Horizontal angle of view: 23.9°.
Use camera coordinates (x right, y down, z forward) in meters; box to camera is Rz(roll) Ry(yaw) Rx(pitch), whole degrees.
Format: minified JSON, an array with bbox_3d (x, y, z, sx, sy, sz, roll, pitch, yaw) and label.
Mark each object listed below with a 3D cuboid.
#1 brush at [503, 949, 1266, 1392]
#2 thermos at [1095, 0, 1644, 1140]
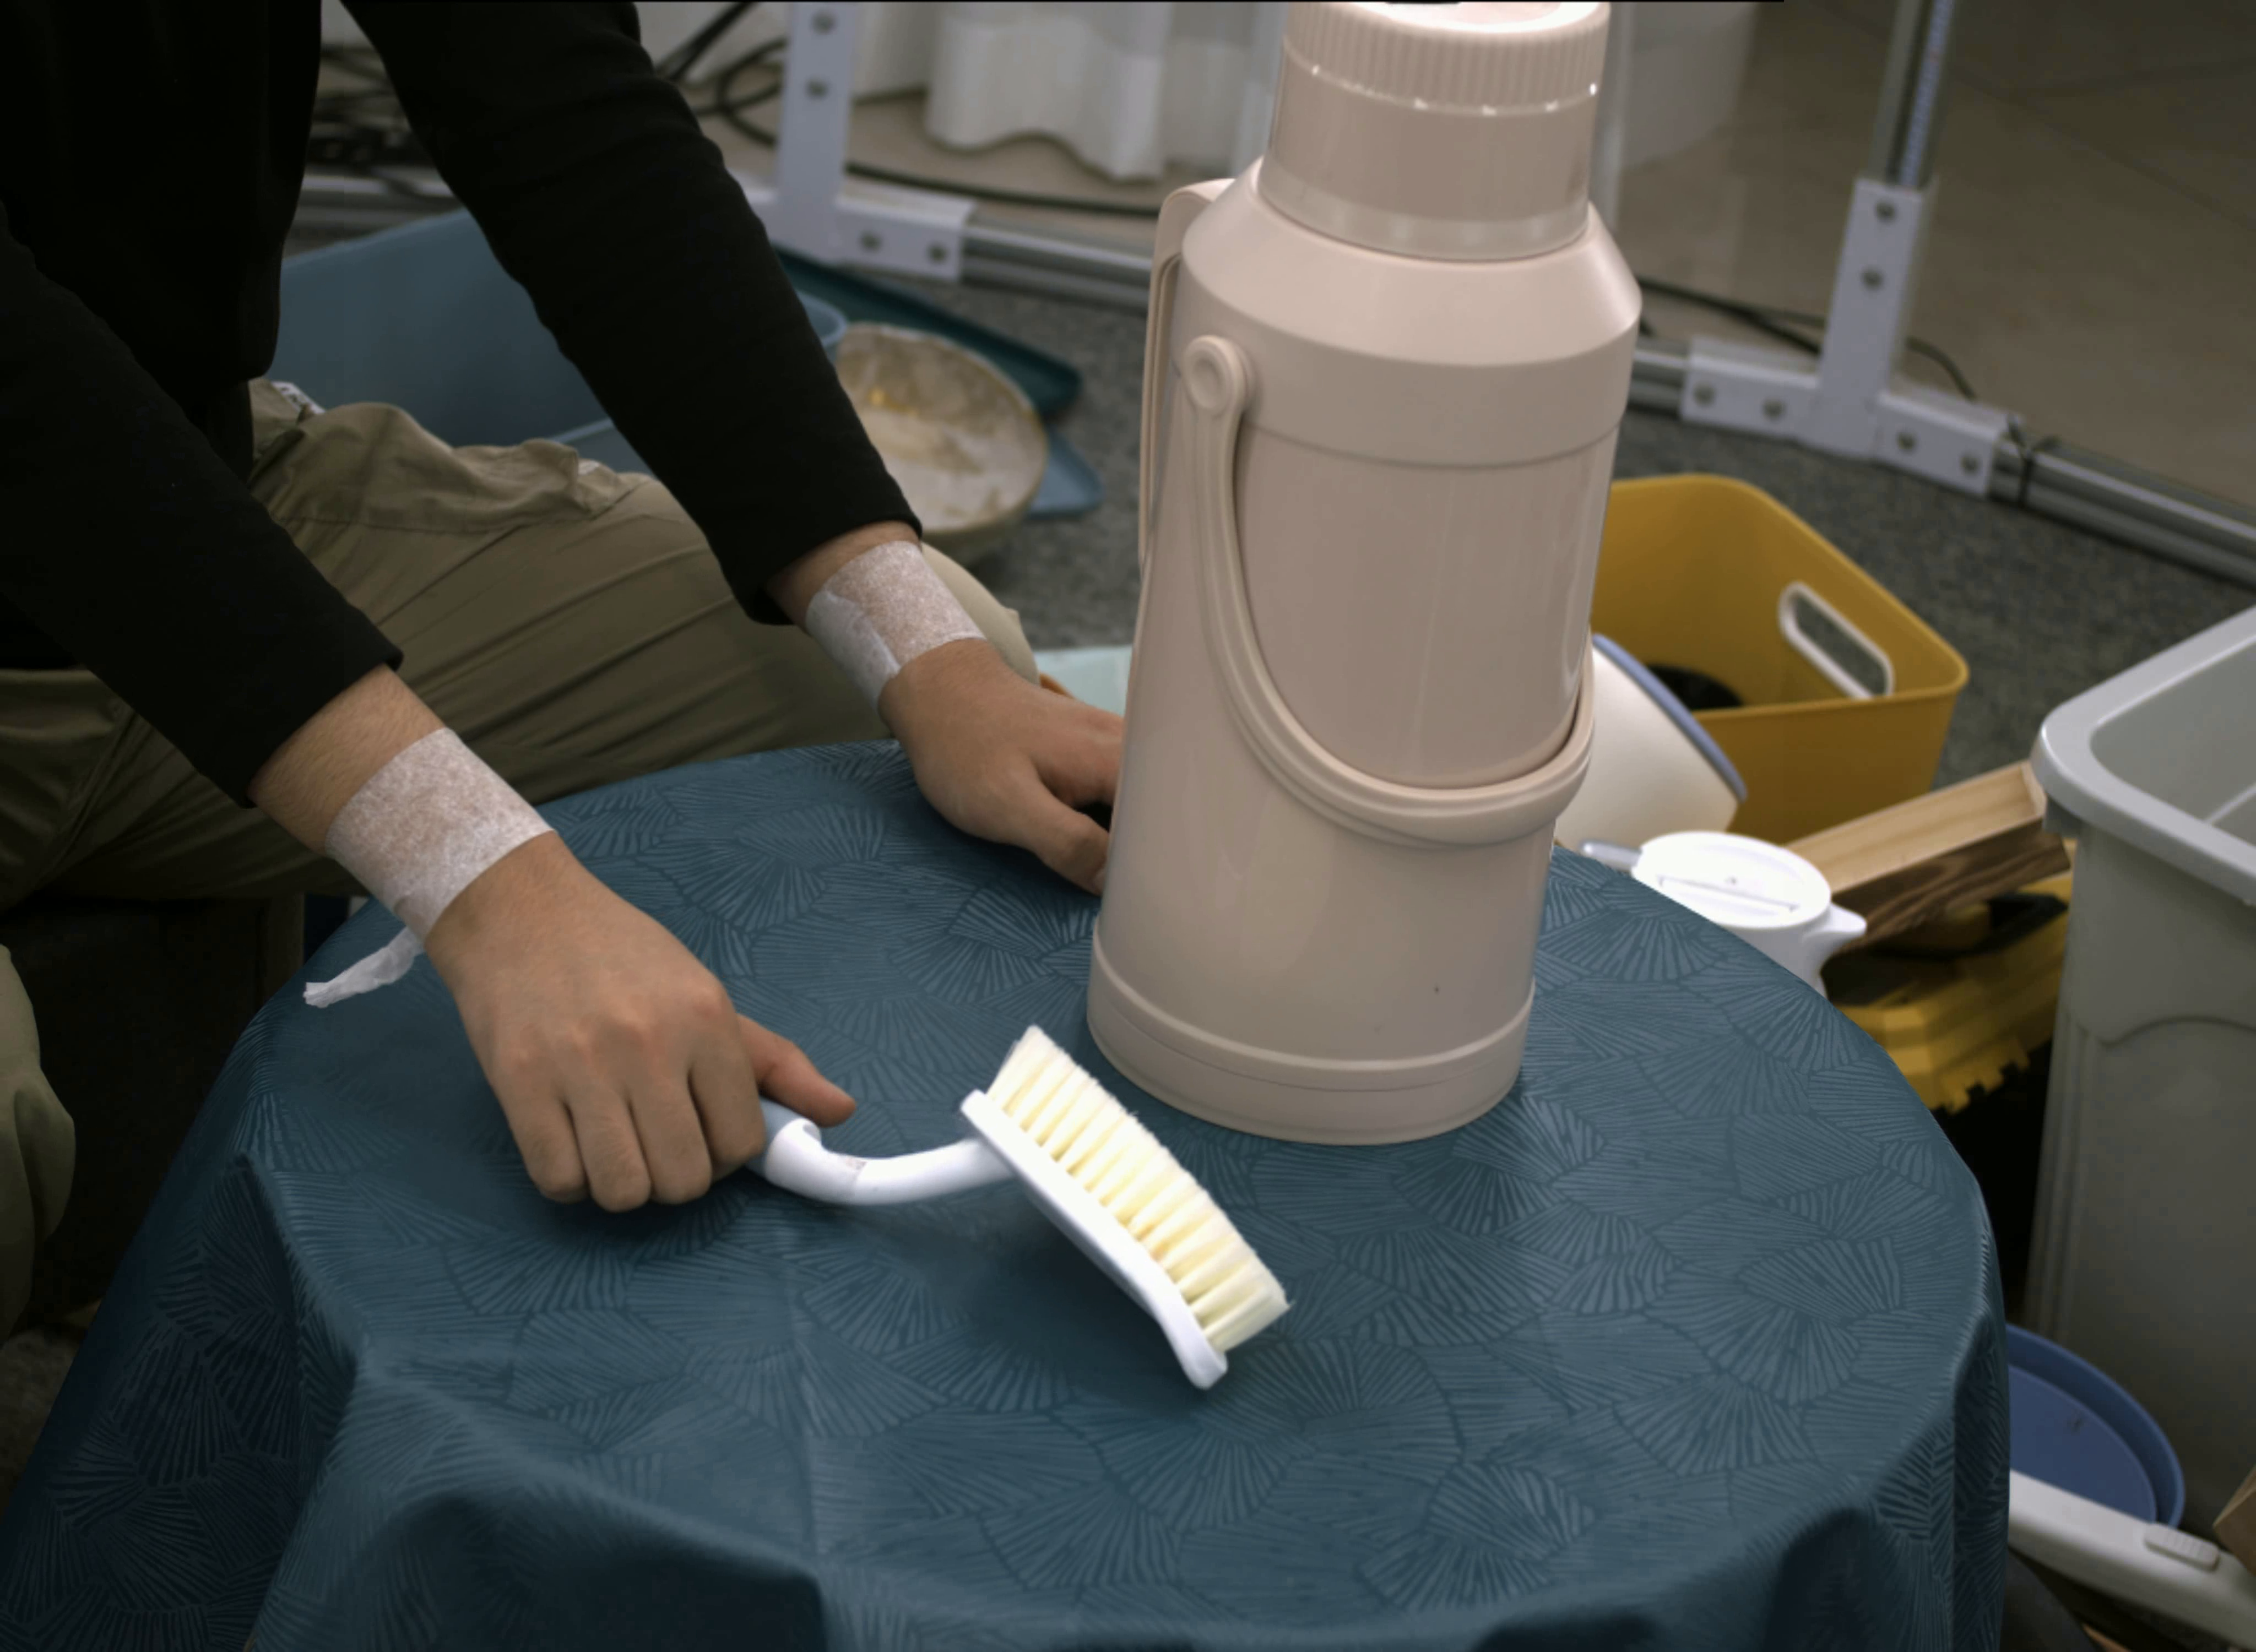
[{"bbox_3d":[-0.079,0.085,1.774,0.328,0.083,0.084,27,35,34],"label":"brush"},{"bbox_3d":[0.078,-0.108,1.837,0.174,0.405,0.209,-17,35,-36],"label":"thermos"}]
